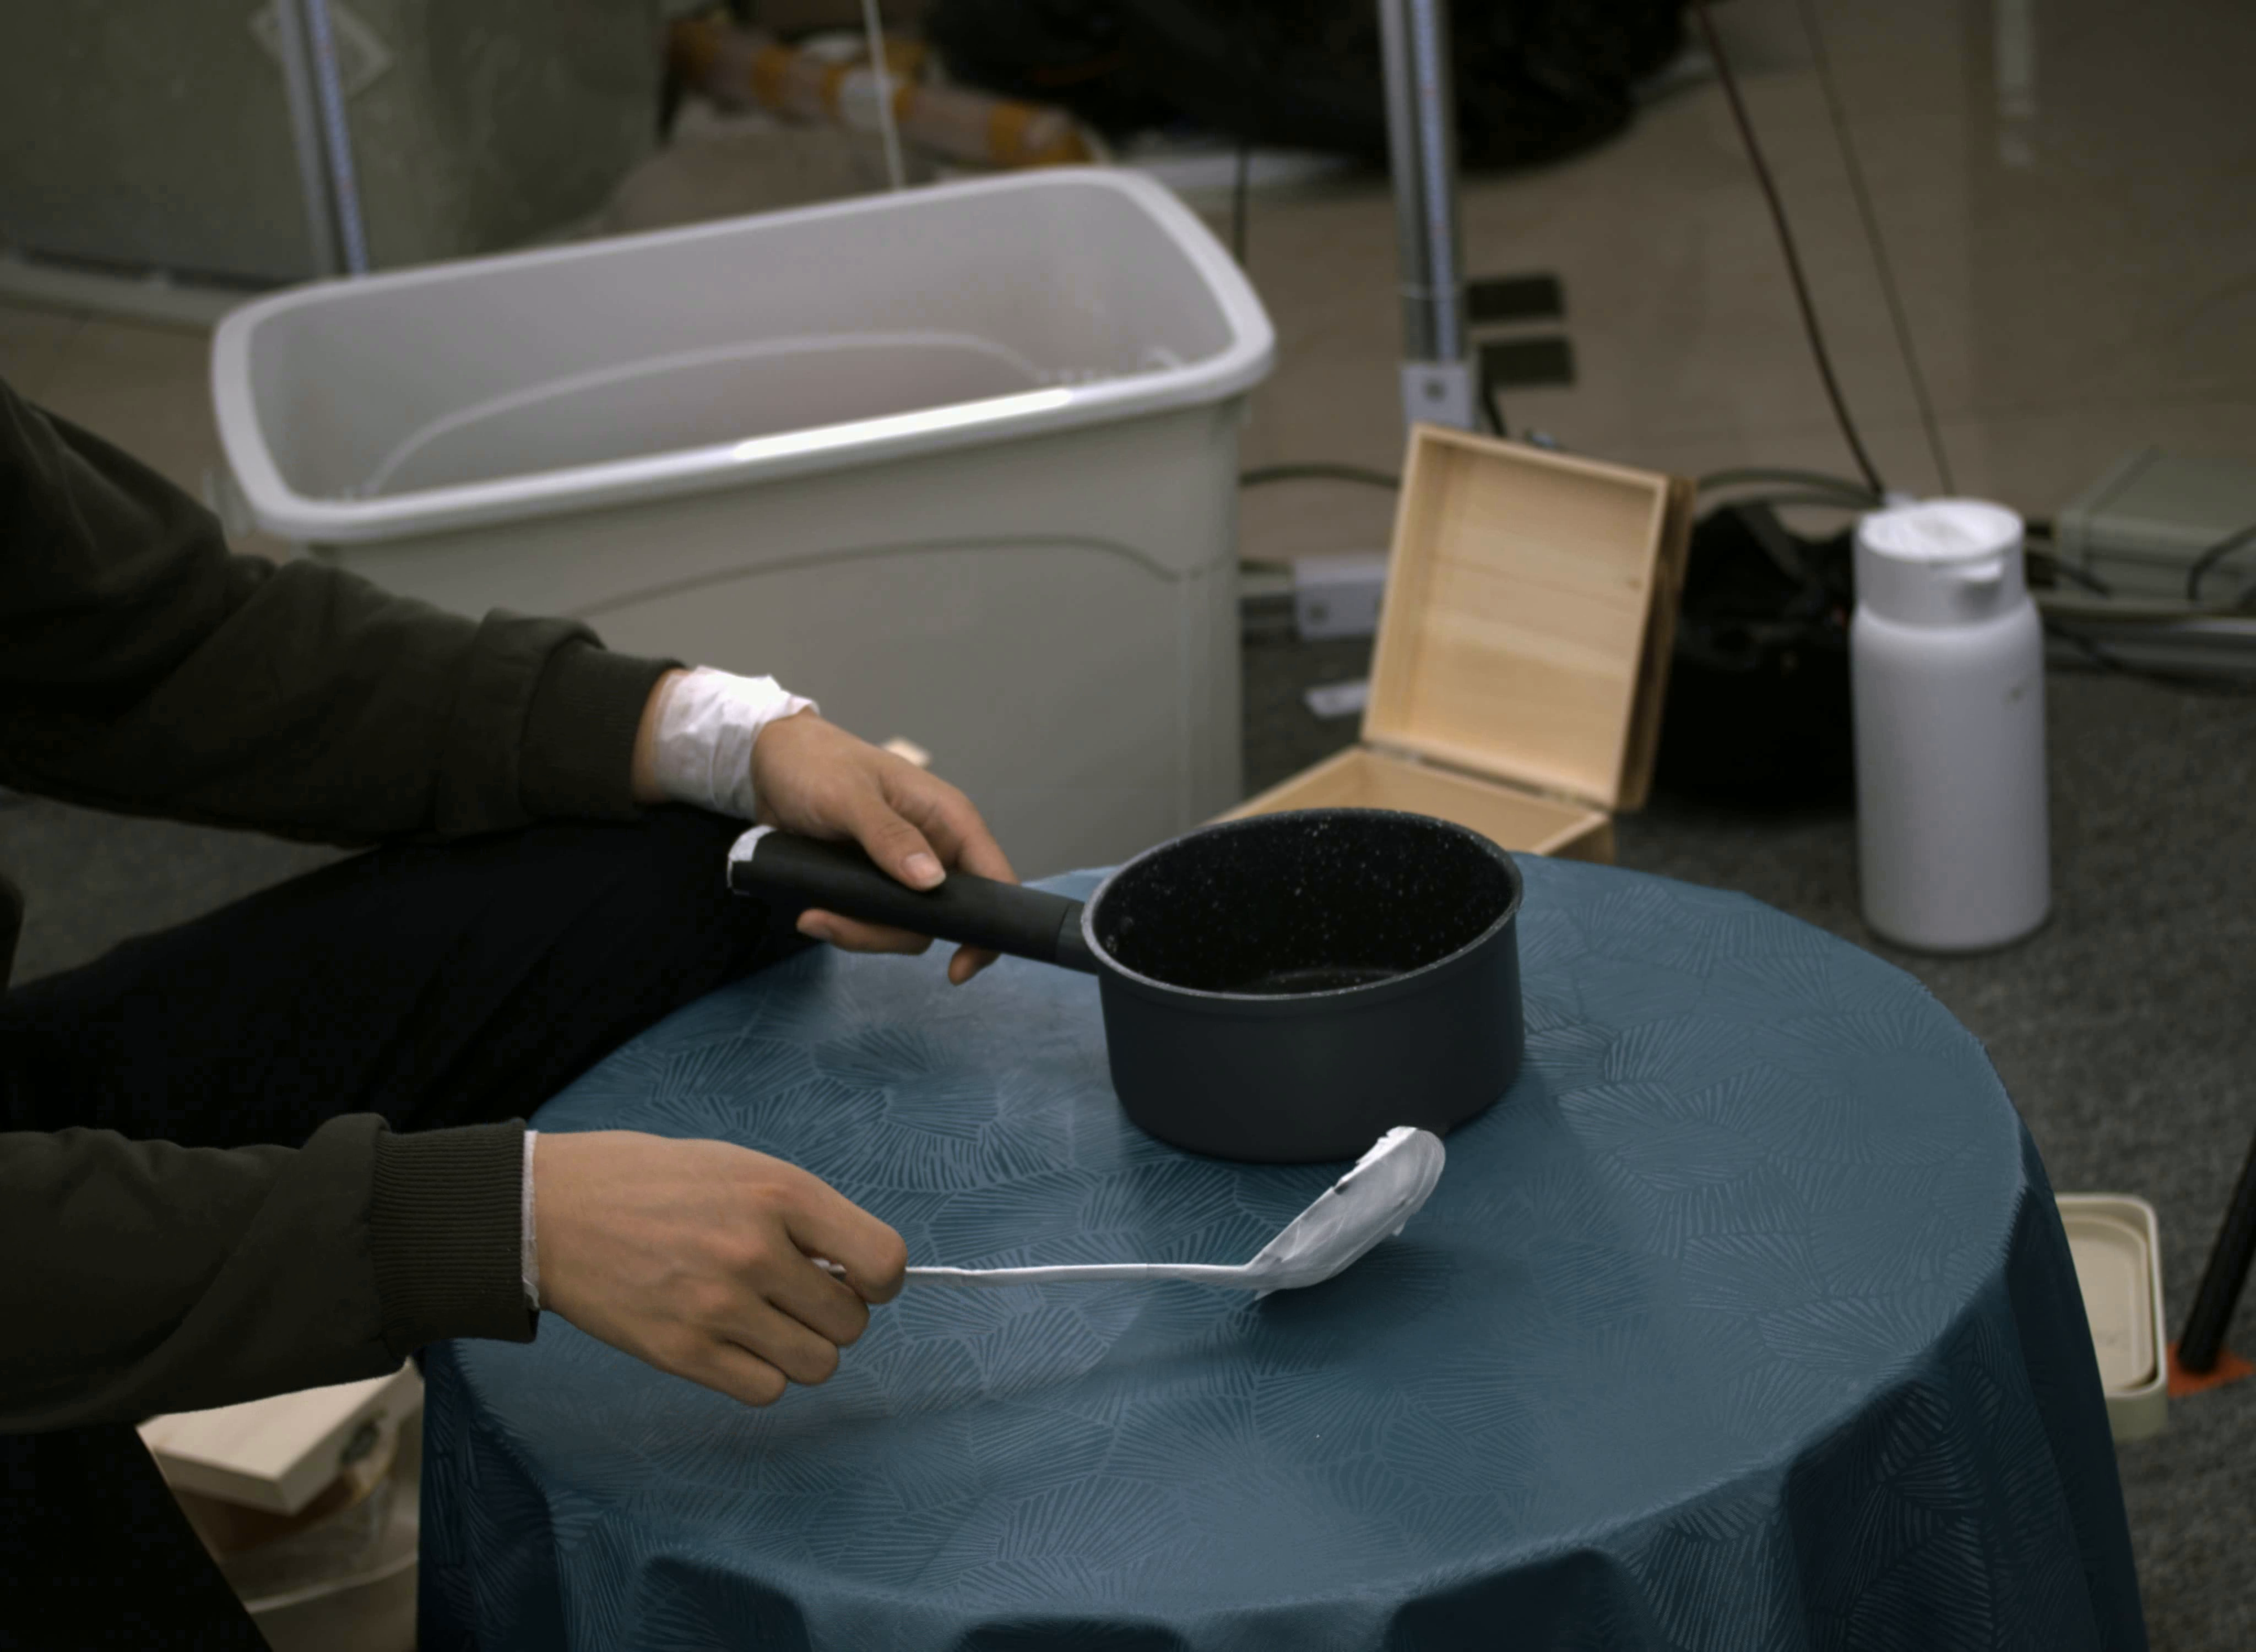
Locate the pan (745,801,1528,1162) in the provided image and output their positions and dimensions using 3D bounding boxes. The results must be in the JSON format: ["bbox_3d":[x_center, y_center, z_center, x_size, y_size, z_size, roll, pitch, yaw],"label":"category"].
[{"bbox_3d":[0.000,0.052,2.238,0.327,0.088,0.170,6,27,24],"label":"pan"}]

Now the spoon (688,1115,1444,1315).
[{"bbox_3d":[-0.021,0.142,2.043,0.277,0.102,0.058,-2,66,-6],"label":"spoon"}]
